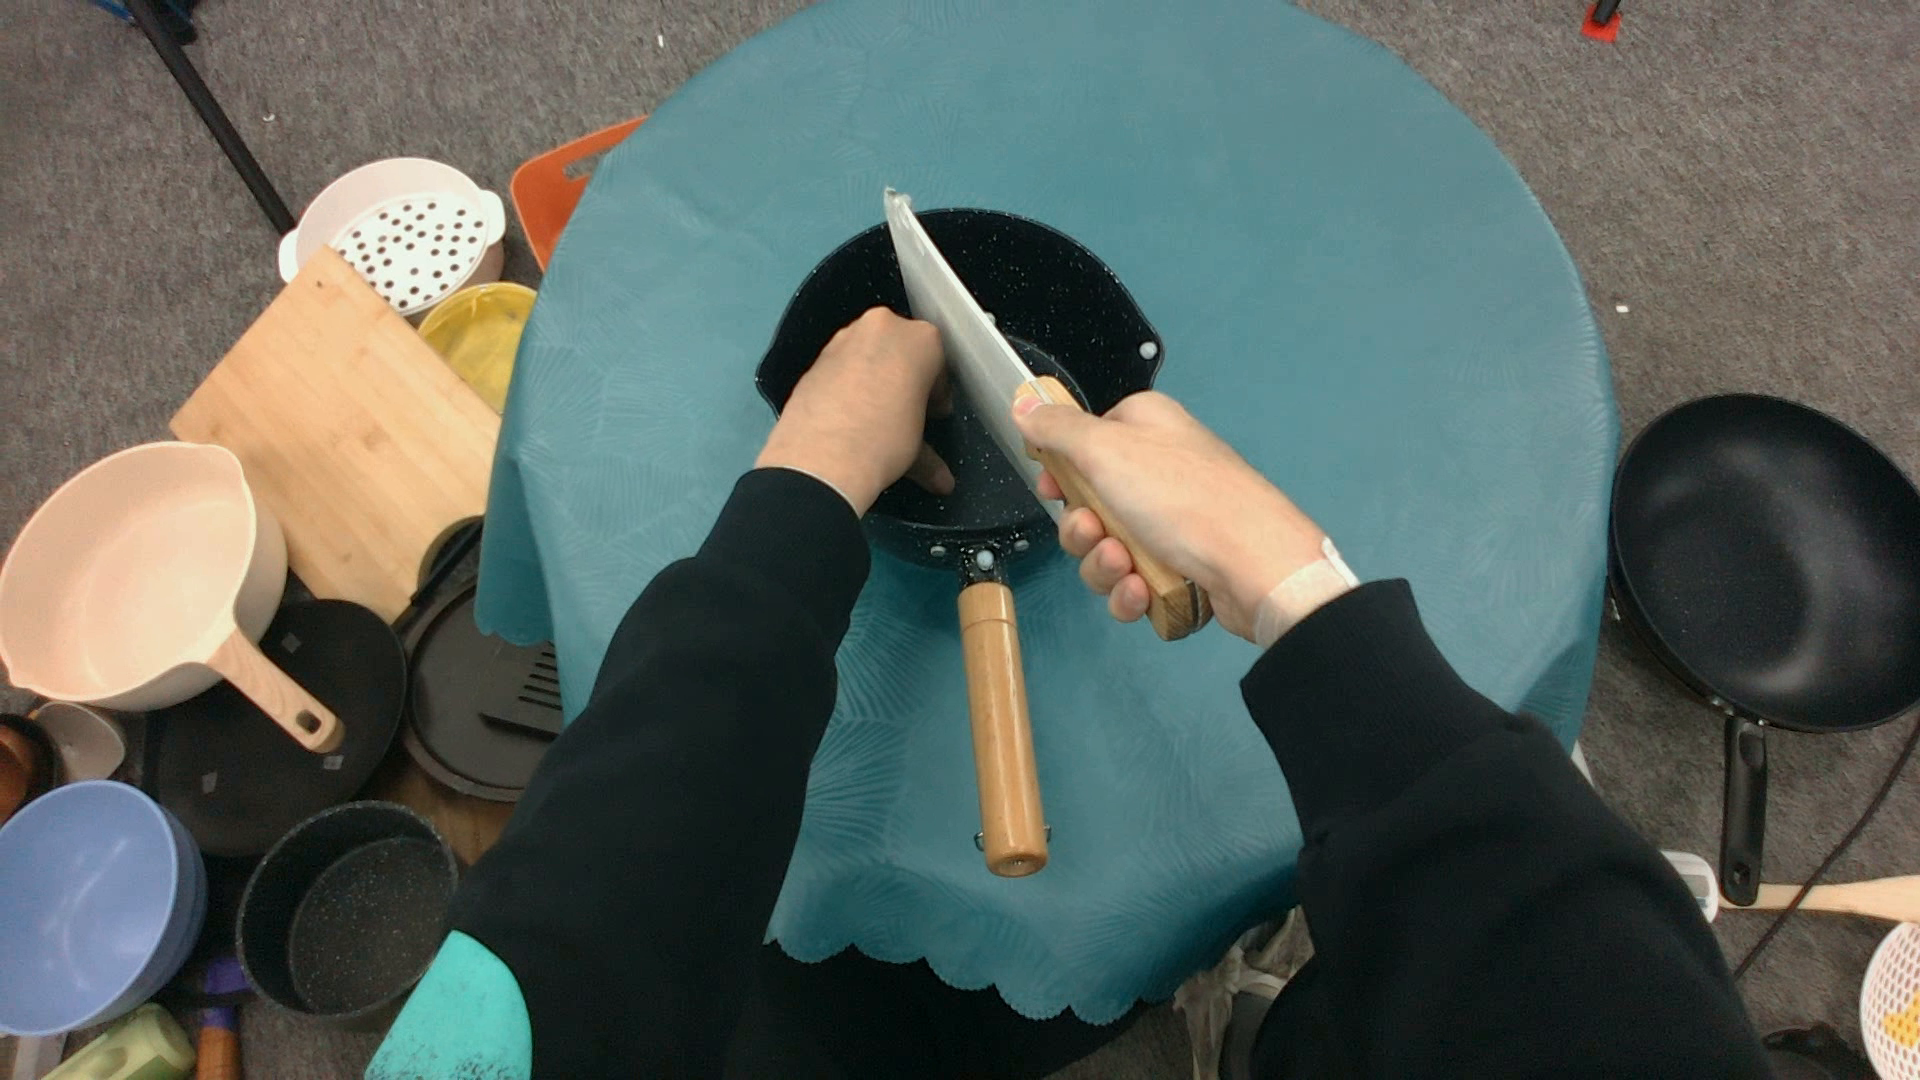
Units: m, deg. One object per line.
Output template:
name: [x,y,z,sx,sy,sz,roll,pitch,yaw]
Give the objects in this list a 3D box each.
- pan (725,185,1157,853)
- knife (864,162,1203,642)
pan: [0.001,-0.013,0.656,0.207,0.108,0.344,-6,64,-4]
knife: [0.017,-0.065,0.593,0.022,0.113,0.316,-24,42,-9]
